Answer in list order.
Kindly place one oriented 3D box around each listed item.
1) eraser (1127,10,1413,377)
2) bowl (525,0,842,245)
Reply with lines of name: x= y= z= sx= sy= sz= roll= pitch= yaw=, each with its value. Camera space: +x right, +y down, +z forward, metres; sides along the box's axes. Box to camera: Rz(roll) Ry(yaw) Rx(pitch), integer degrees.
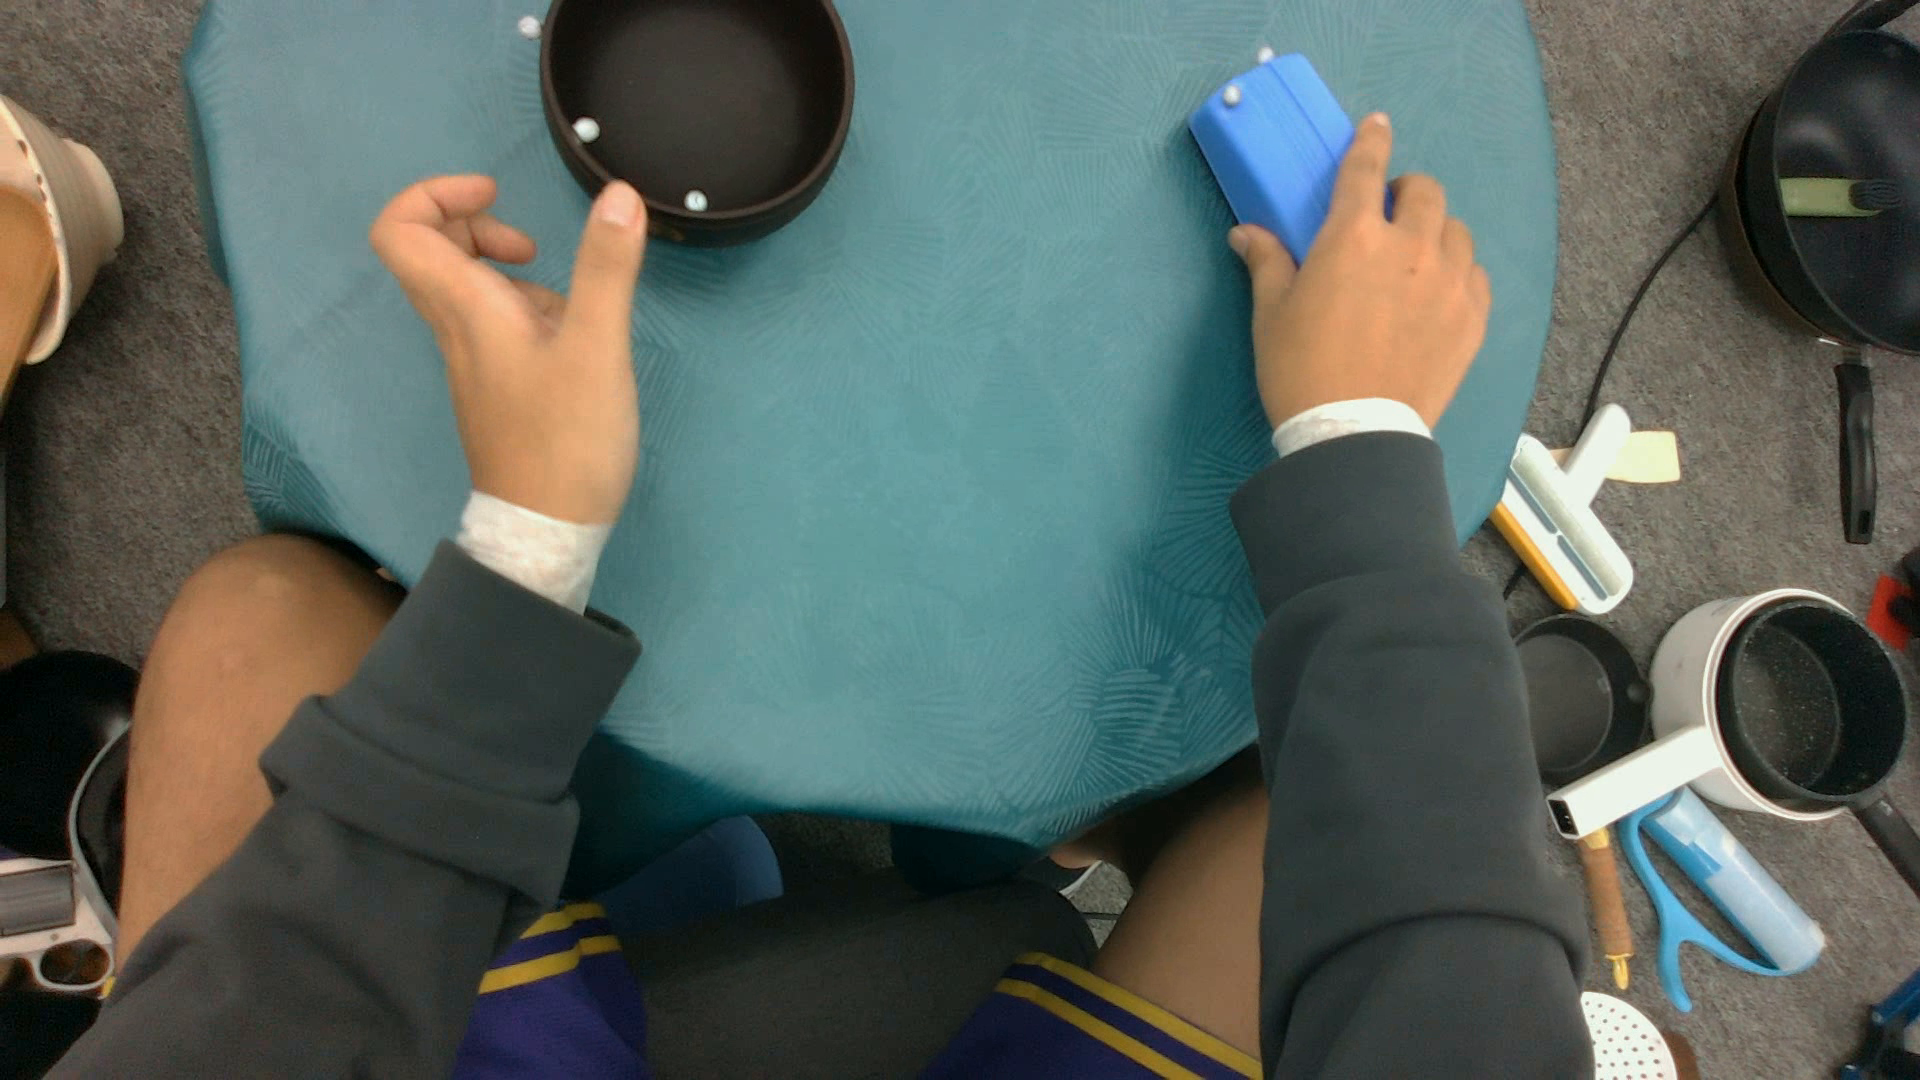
eraser: x=0.137 y=-0.151 z=0.598 sx=0.054 sy=0.047 sz=0.162 roll=-32 pitch=93 yaw=-15
bowl: x=-0.109 y=-0.172 z=0.541 sx=0.118 sy=0.069 sz=0.118 roll=1 pitch=84 yaw=-15
